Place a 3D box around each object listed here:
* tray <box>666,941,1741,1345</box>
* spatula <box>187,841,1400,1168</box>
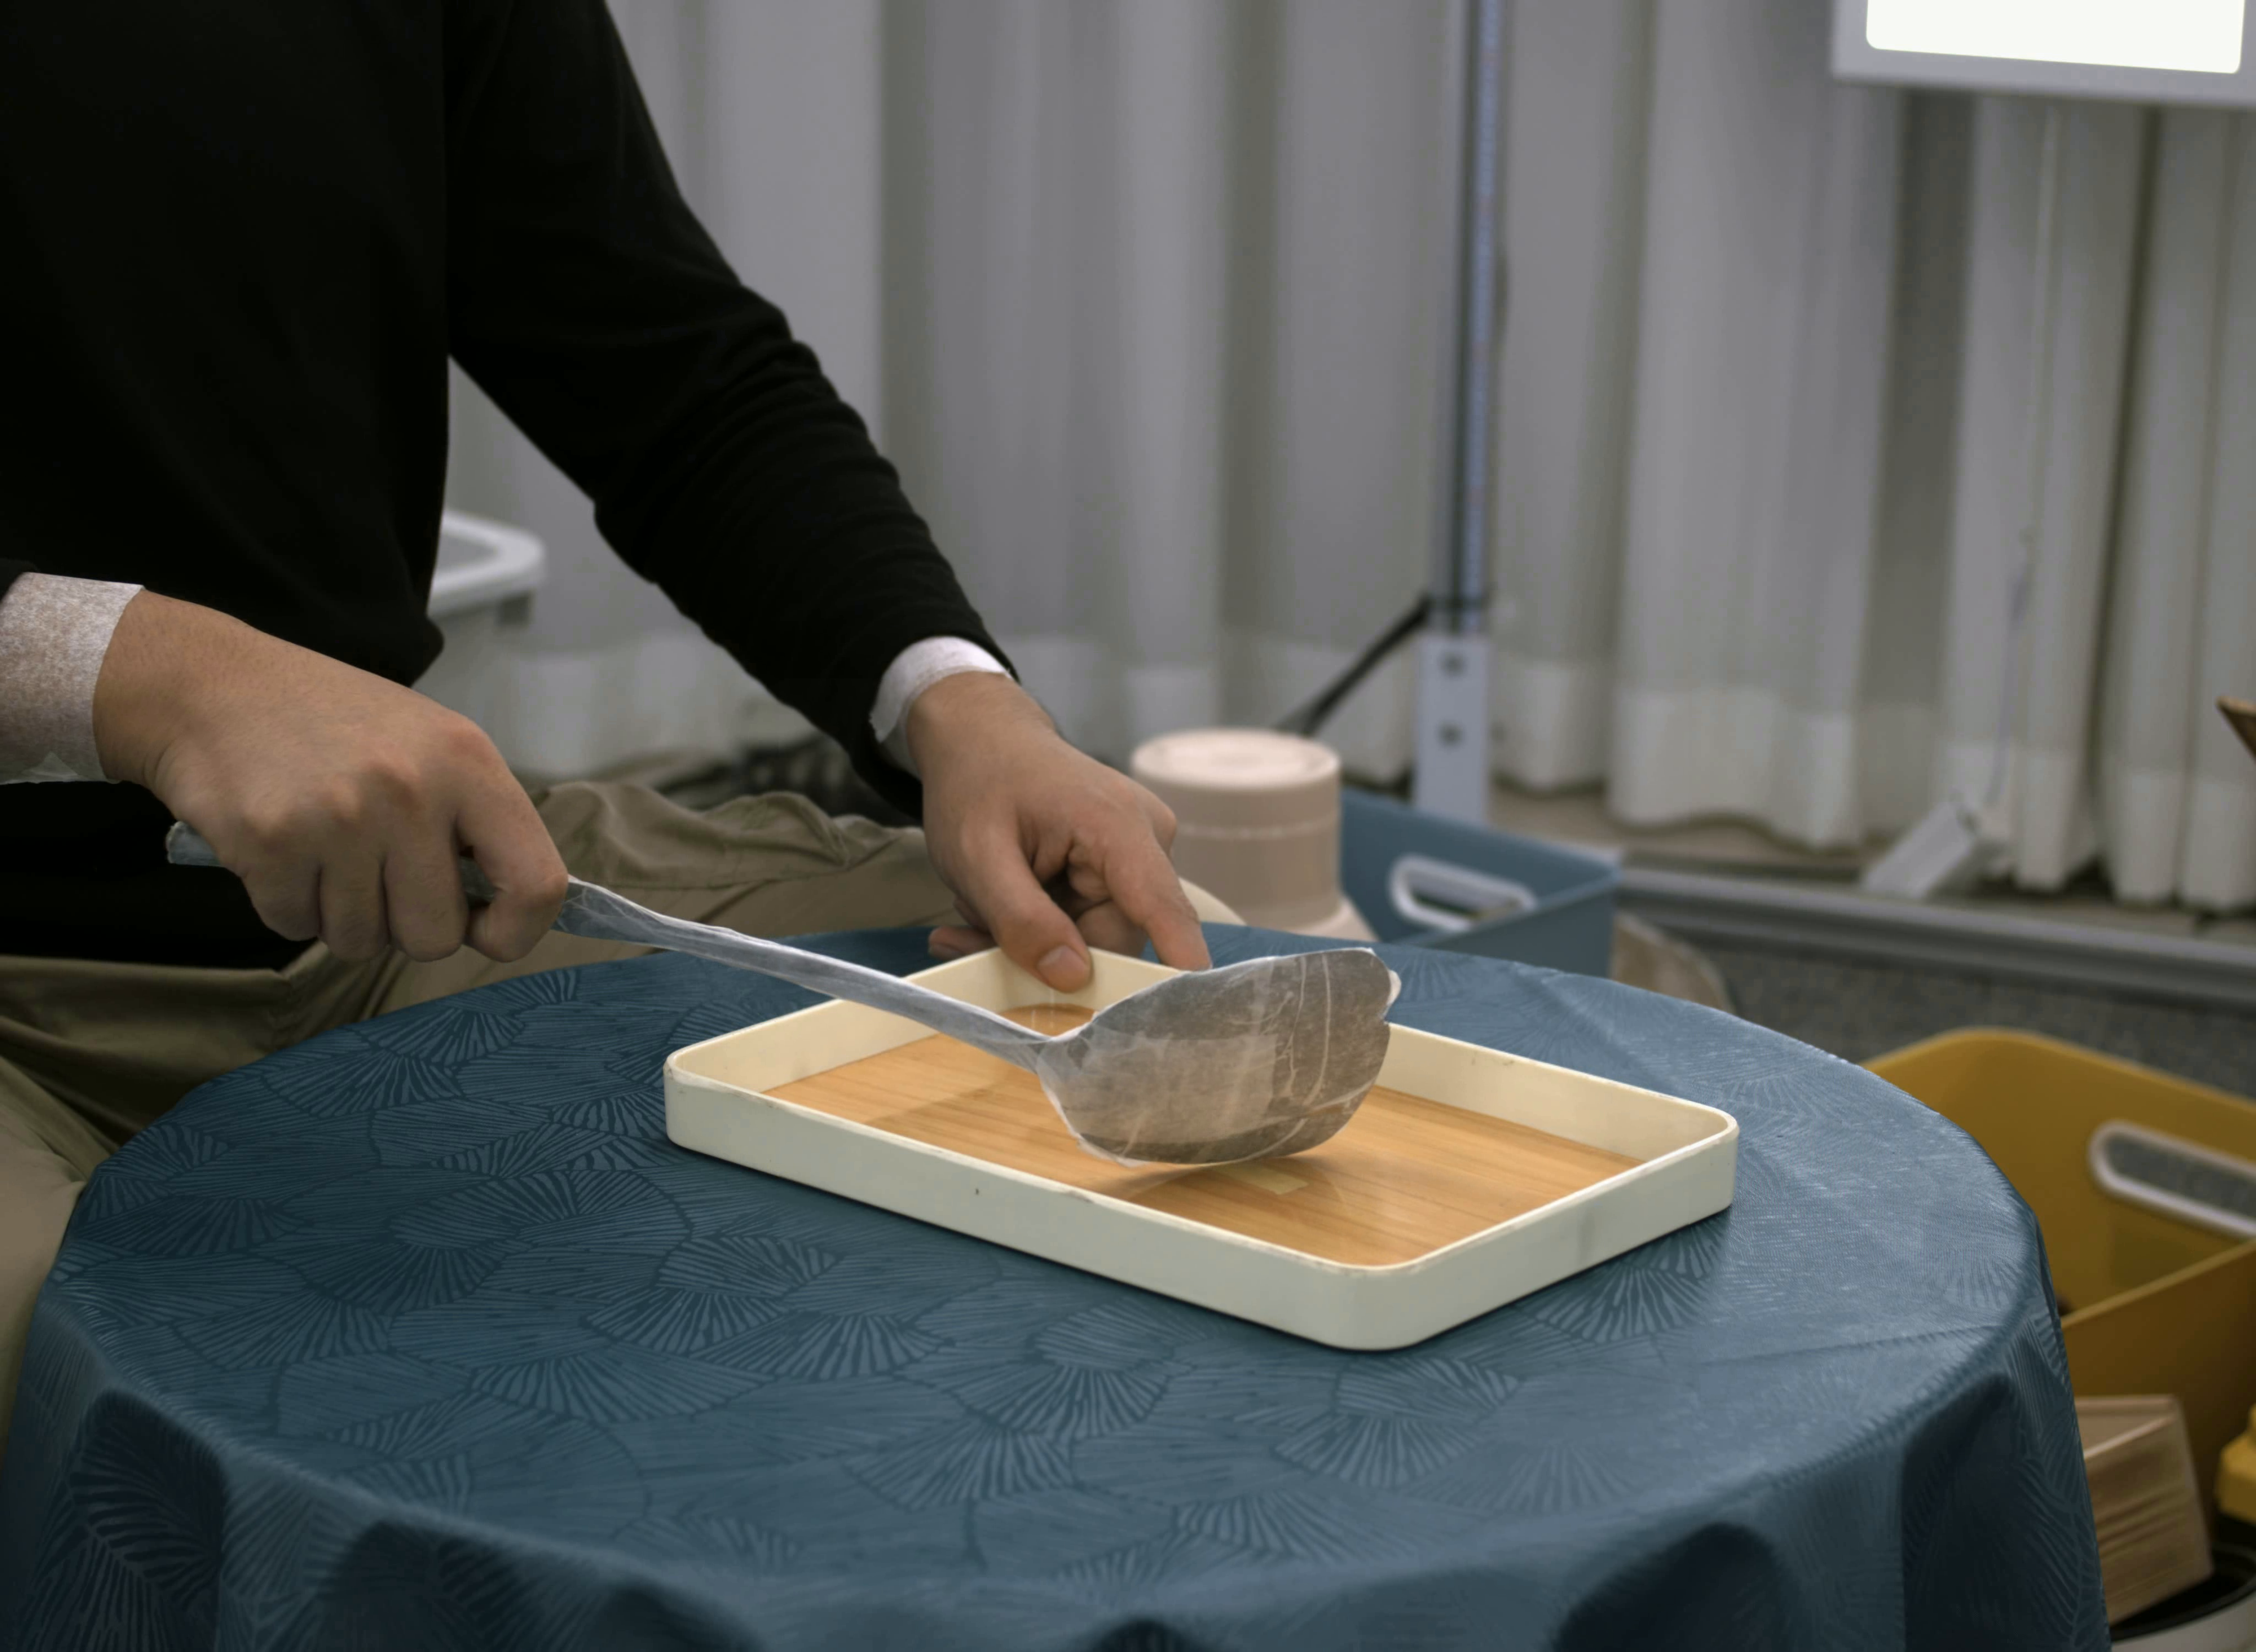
[{"bbox_3d":[0.021,0.094,1.637,0.296,0.027,0.192,13,20,39],"label":"tray"},{"bbox_3d":[-0.099,0.041,1.580,0.364,0.099,0.044,14,45,-3],"label":"spatula"}]
